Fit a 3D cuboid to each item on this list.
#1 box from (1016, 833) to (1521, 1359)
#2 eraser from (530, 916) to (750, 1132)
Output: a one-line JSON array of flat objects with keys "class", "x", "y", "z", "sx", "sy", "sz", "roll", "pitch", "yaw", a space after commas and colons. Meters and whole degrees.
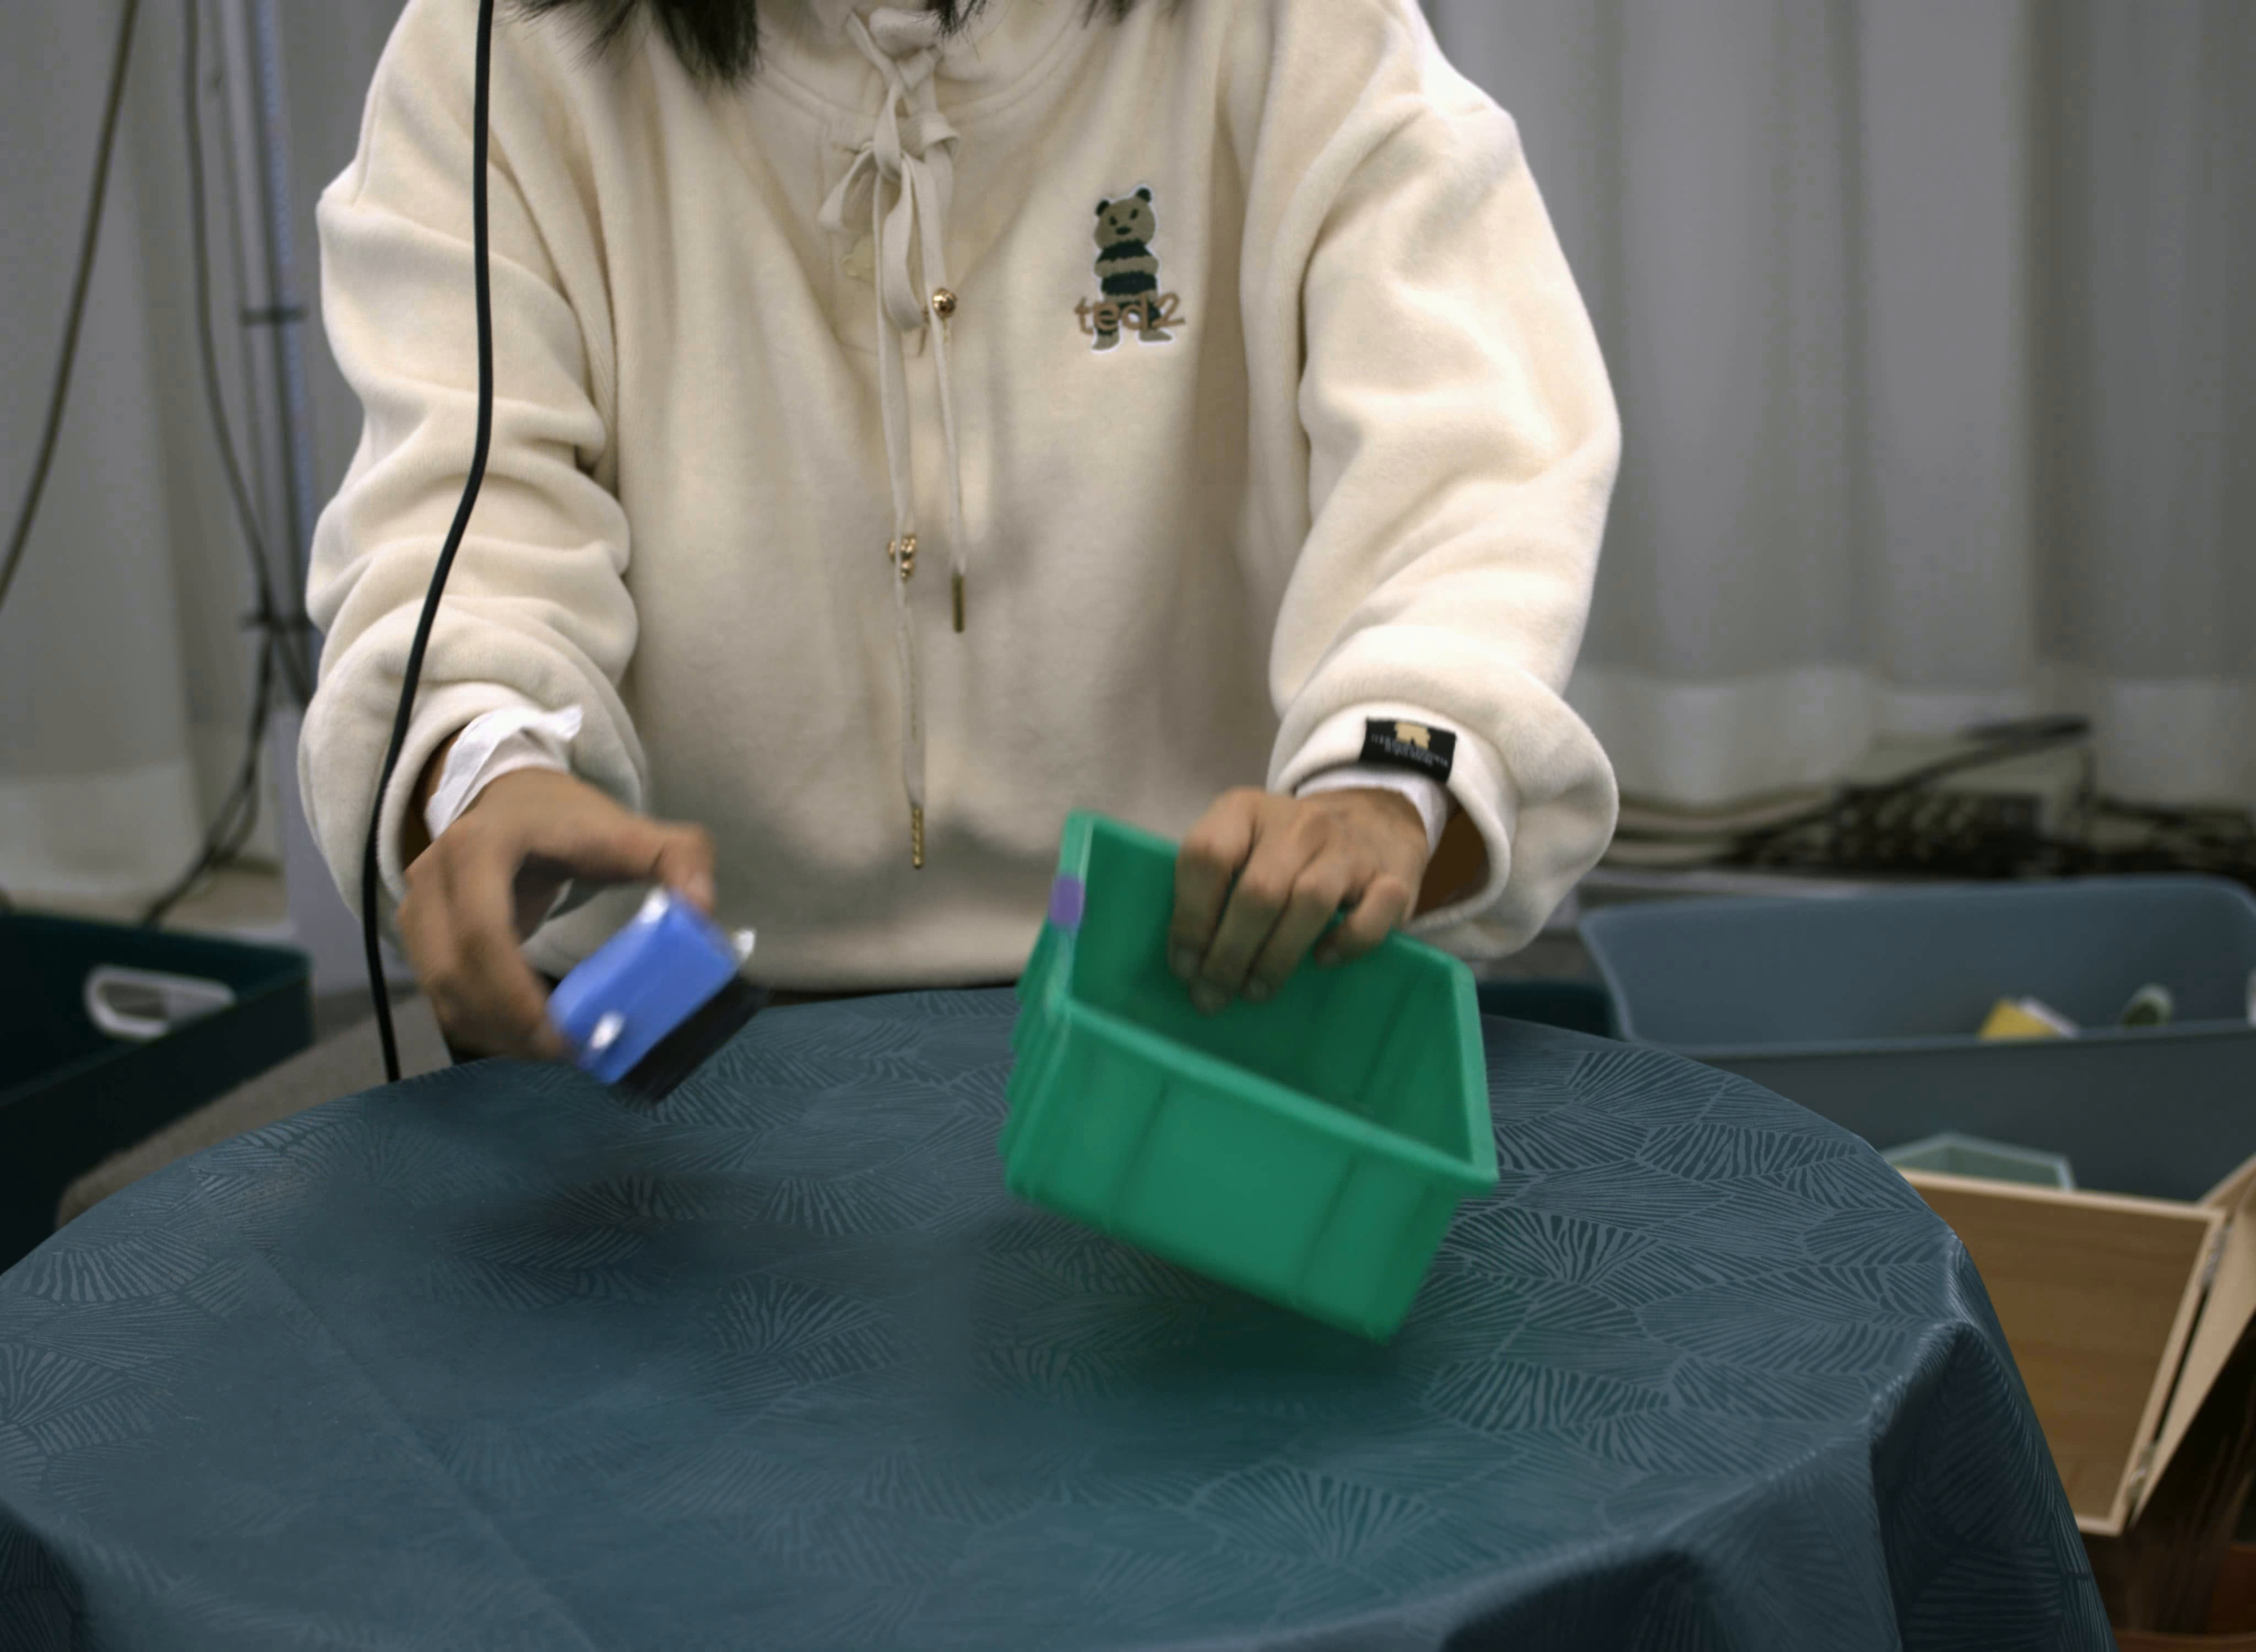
[{"class": "box", "x": 0.035, "y": 0.079, "z": 1.607, "sx": 0.138, "sy": 0.065, "sz": 0.212, "roll": 19, "pitch": 16, "yaw": -6}, {"class": "eraser", "x": -0.150, "y": 0.059, "z": 1.668, "sx": 0.054, "sy": 0.047, "sz": 0.162, "roll": -40, "pitch": 0, "yaw": -3}]
